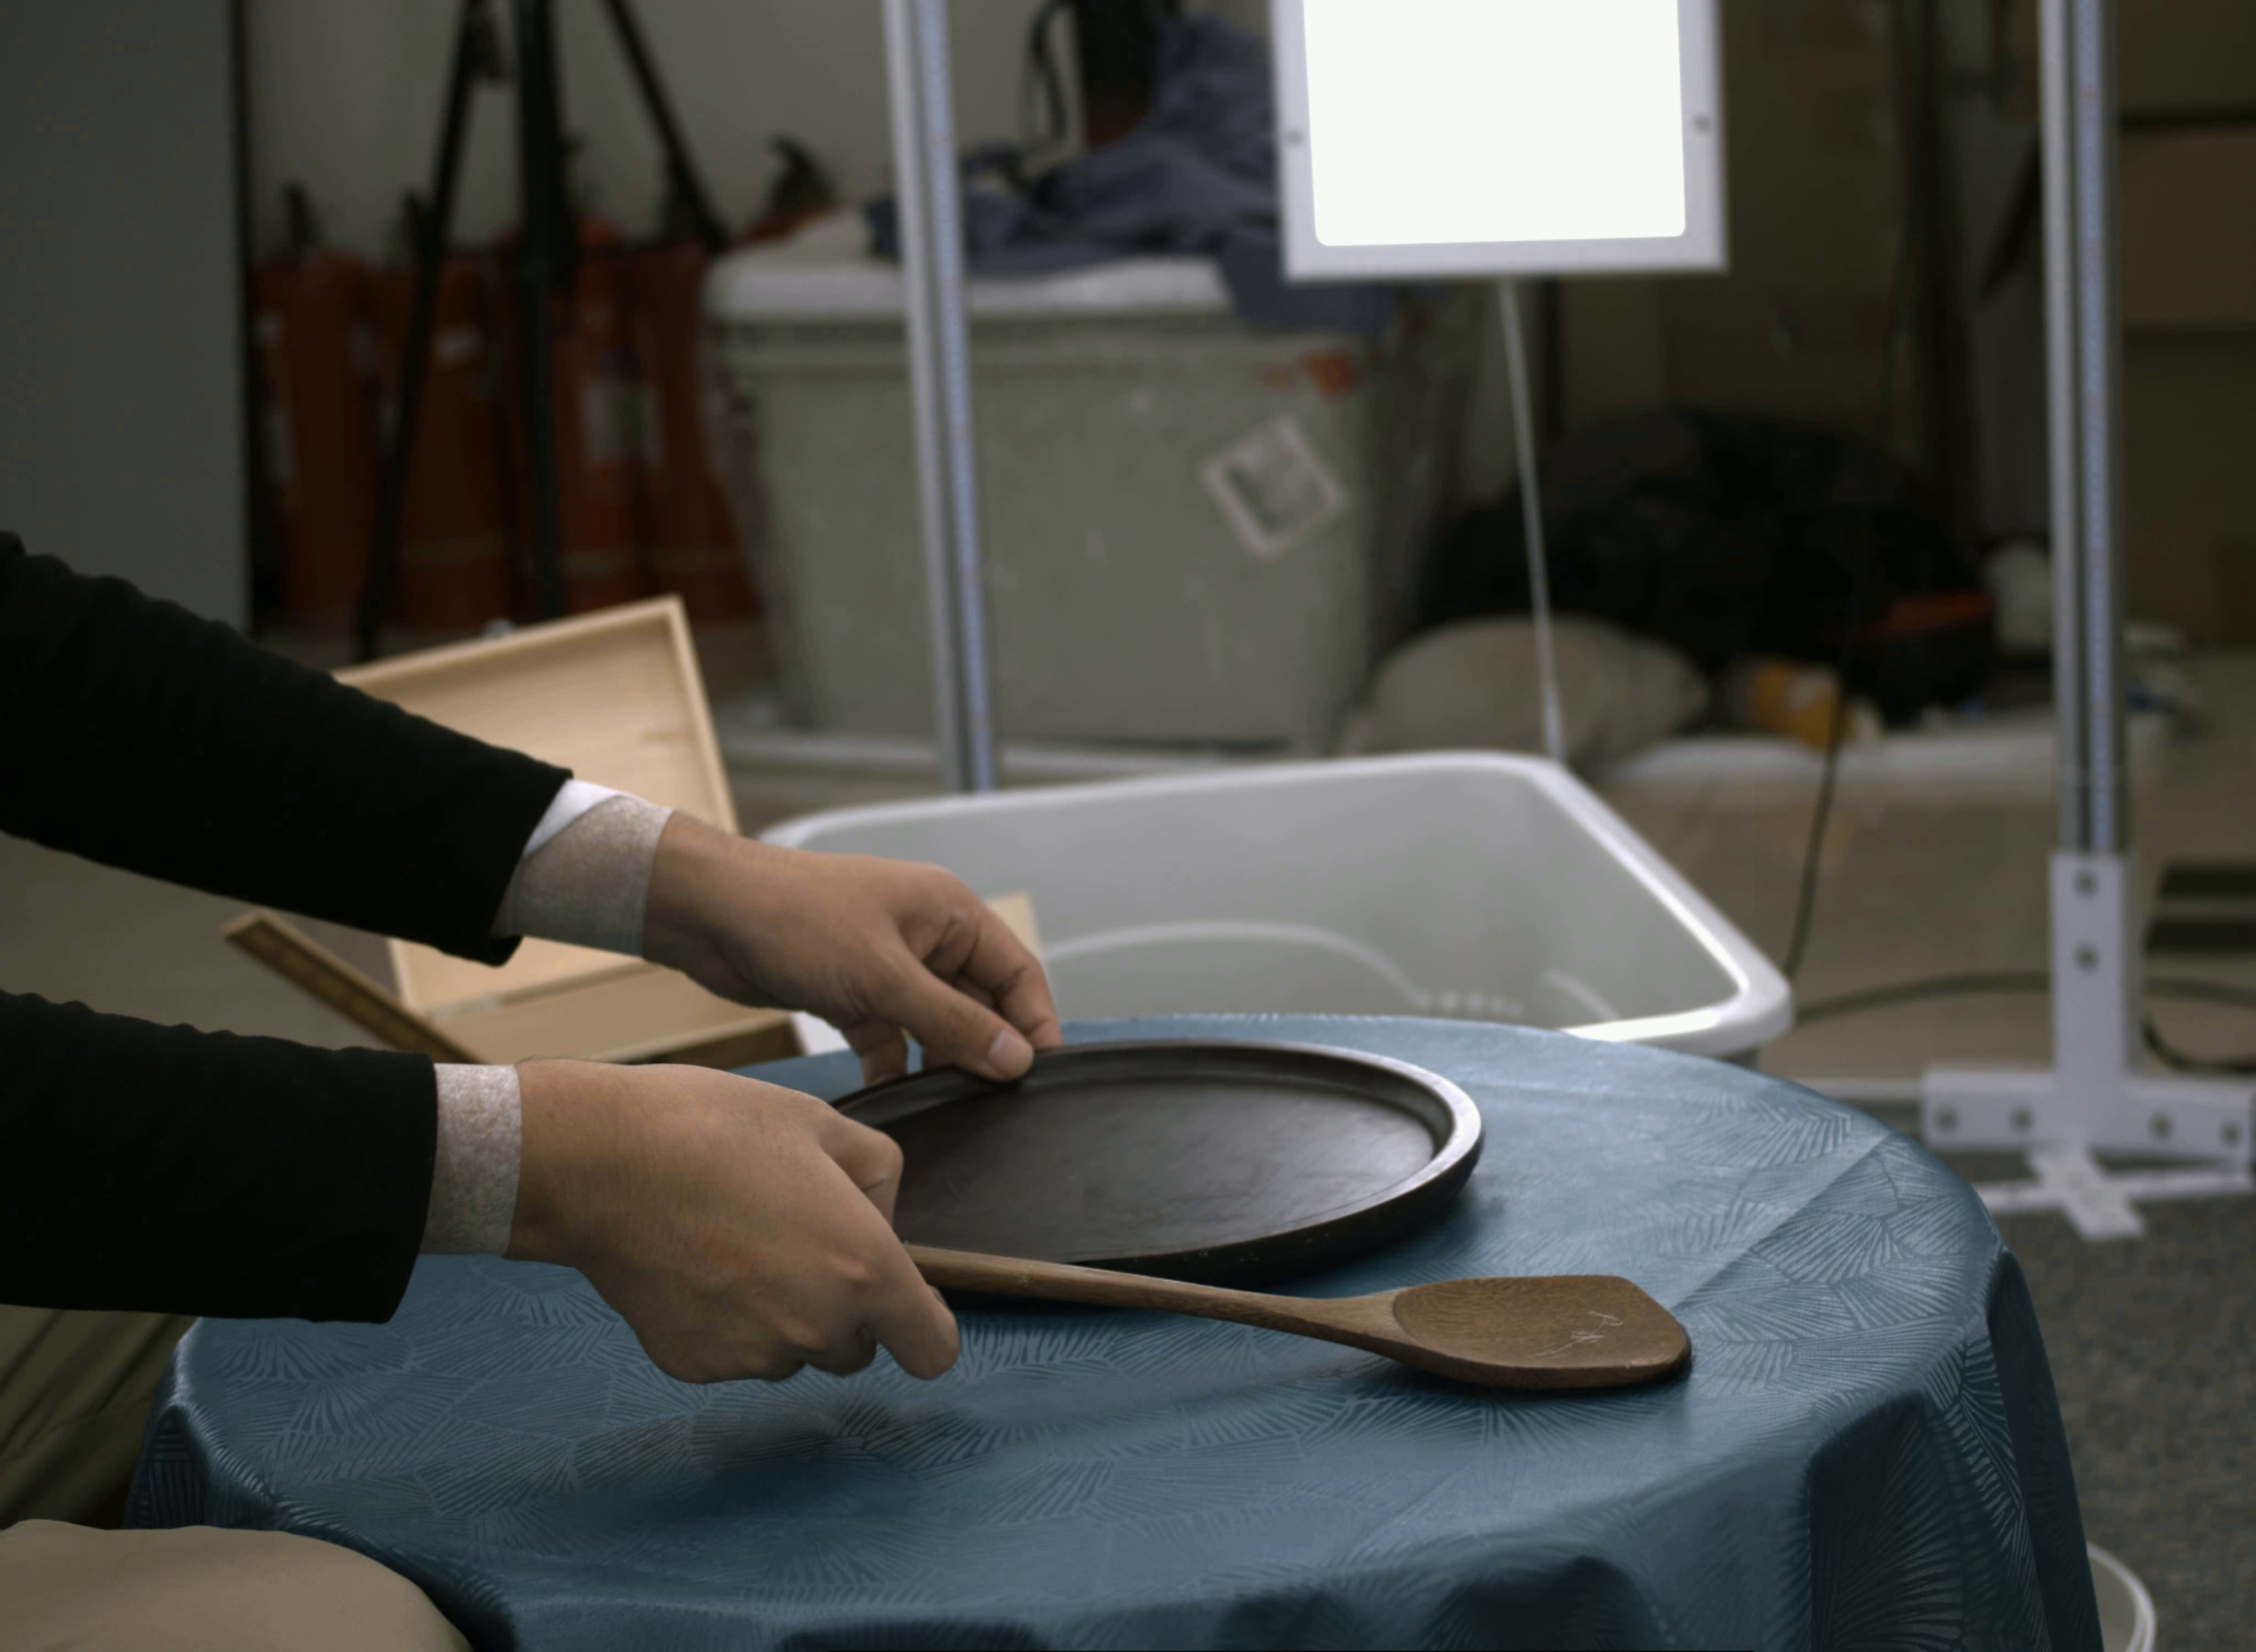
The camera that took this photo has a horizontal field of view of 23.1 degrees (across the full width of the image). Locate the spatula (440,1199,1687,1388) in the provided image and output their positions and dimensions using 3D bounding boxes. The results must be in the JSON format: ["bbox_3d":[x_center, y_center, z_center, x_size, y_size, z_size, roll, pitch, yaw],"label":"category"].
[{"bbox_3d":[-0.019,0.140,1.693,0.384,0.016,0.096,6,12,-3],"label":"spatula"}]

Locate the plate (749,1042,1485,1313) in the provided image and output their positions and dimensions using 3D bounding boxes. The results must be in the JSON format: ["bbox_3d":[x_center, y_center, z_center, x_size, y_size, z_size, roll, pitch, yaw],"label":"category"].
[{"bbox_3d":[-0.003,0.118,1.886,0.254,0.029,0.254,-5,15,0],"label":"plate"}]
